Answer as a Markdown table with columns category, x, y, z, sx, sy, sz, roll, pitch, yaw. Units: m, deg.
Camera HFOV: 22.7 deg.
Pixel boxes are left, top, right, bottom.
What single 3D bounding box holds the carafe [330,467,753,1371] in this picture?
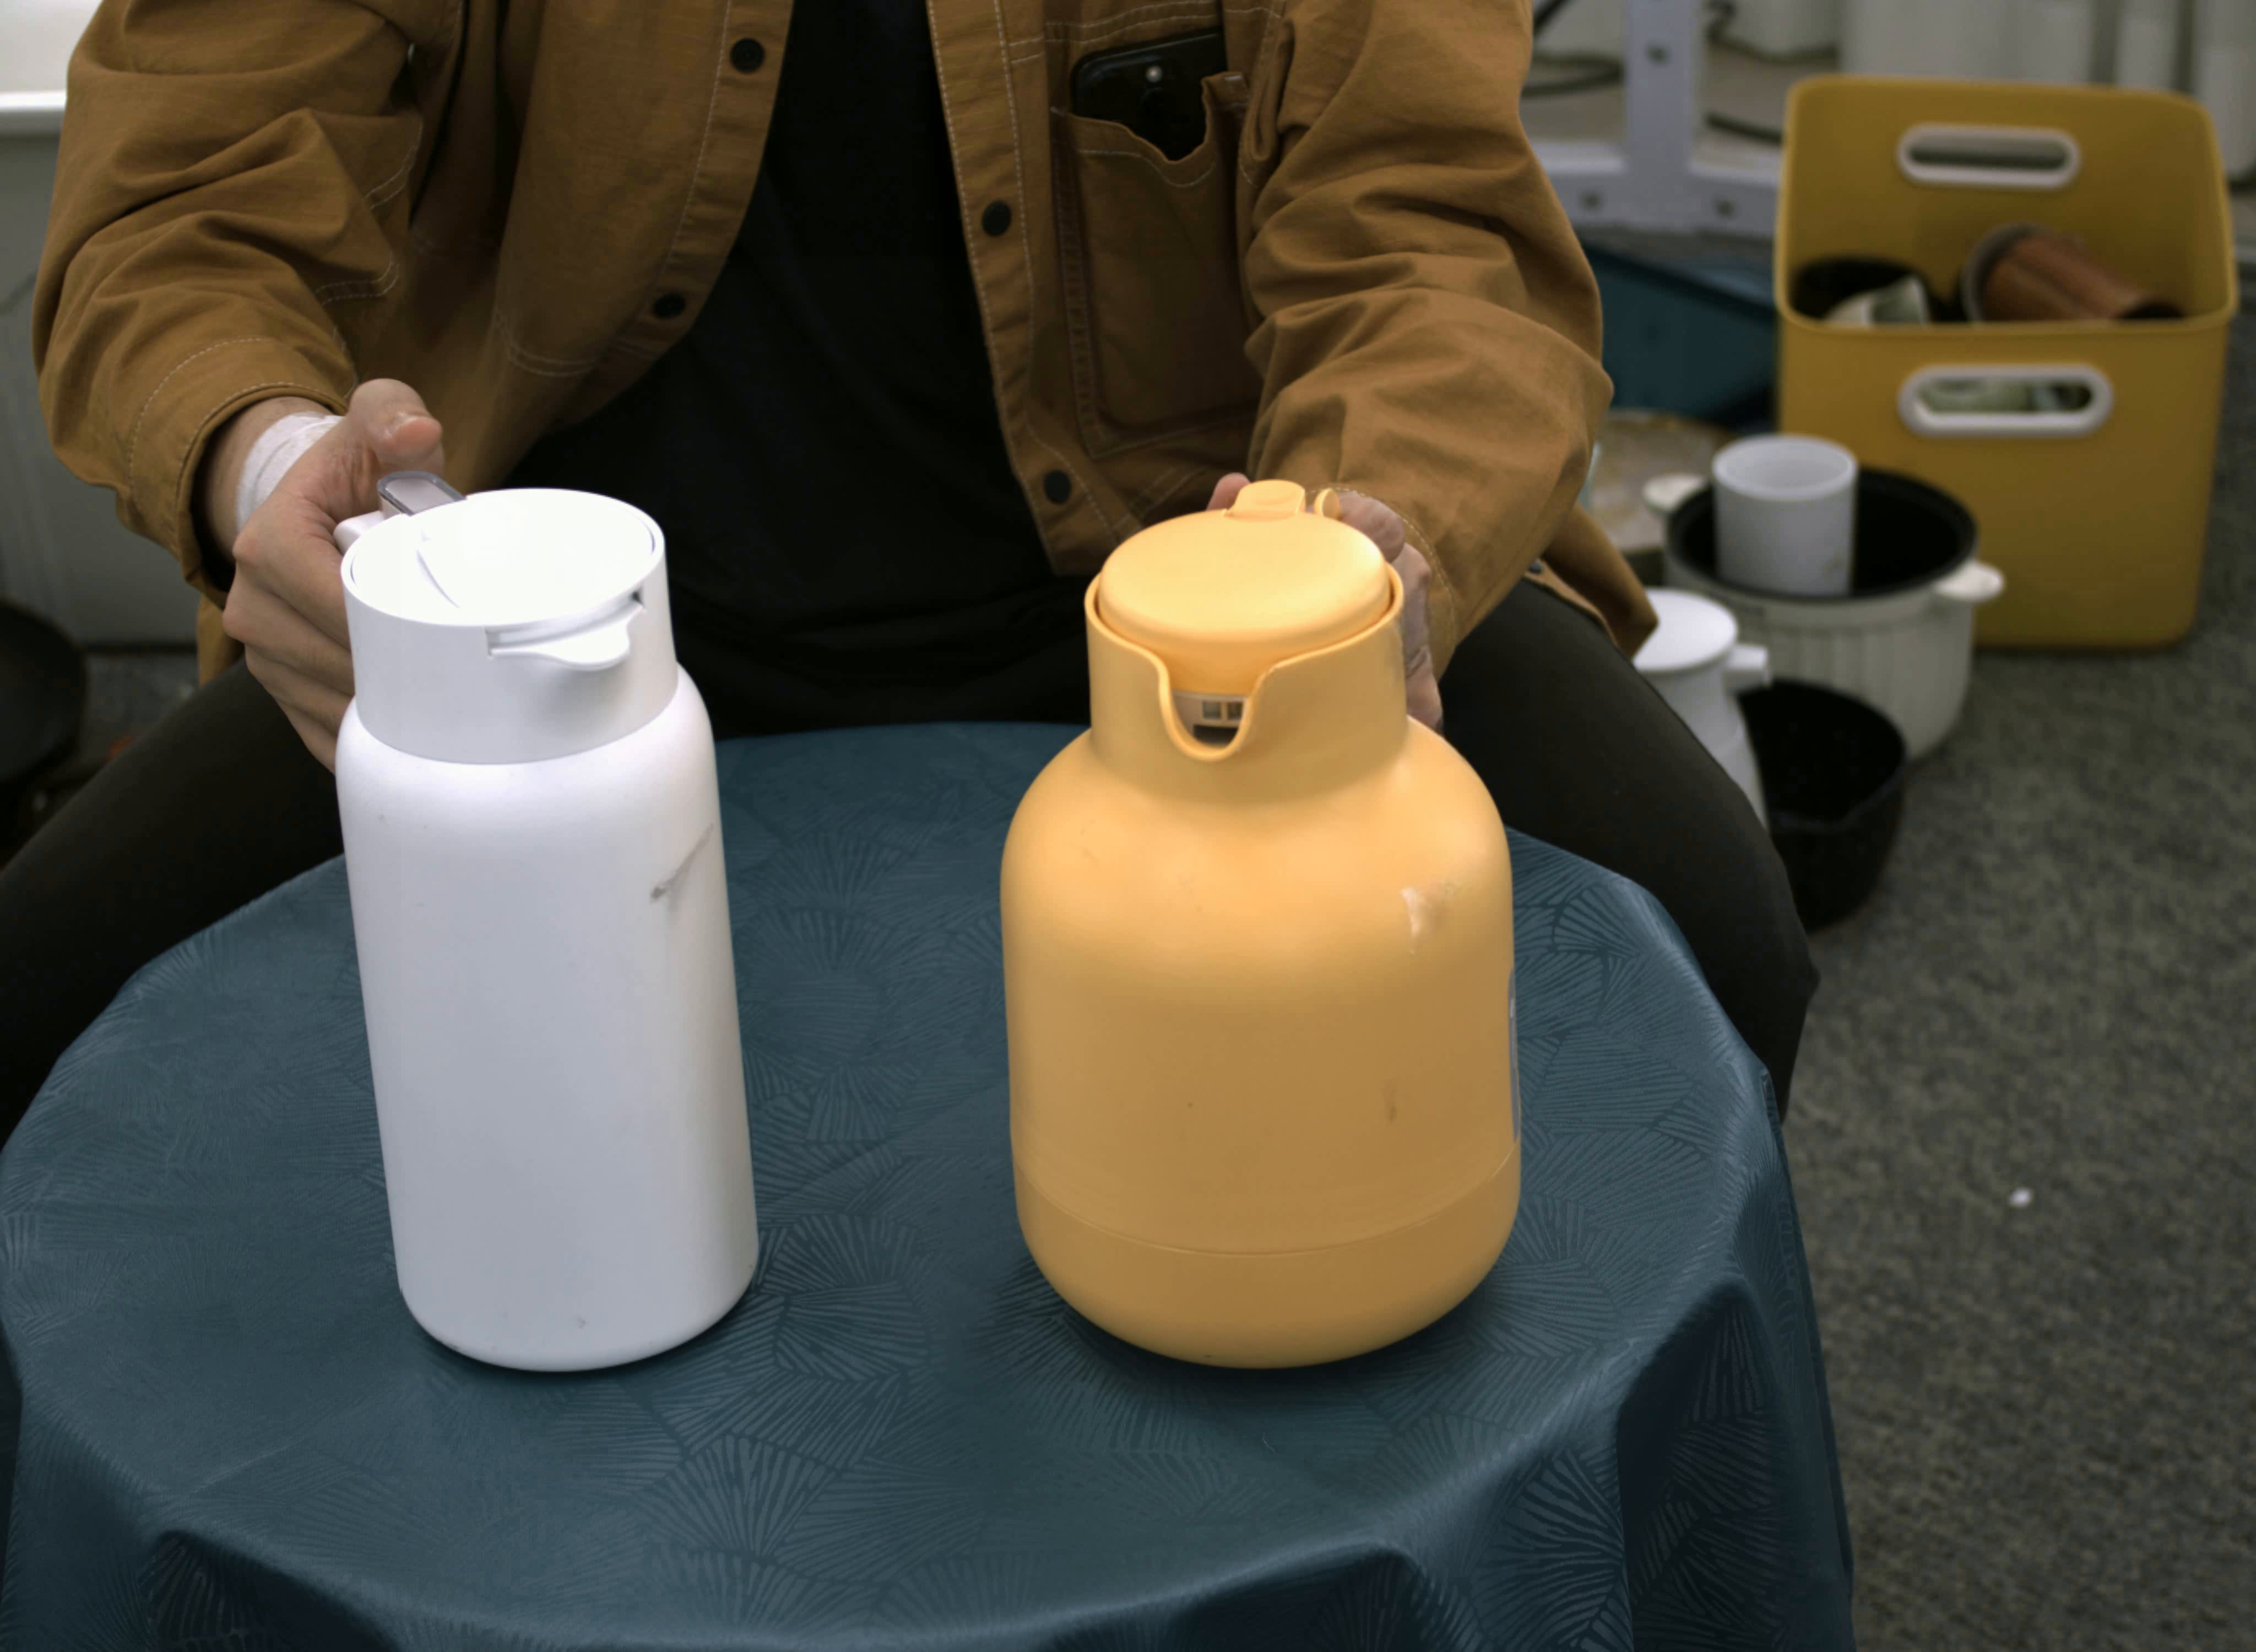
| category | x | y | z | sx | sy | sz | roll | pitch | yaw |
| --- | --- | --- | --- | --- | --- | --- | --- | --- | --- |
| carafe | -0.195 | 0.026 | 1.776 | 0.125 | 0.266 | 0.173 | -20 | 31 | -27 |

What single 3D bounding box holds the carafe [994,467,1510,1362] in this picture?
| category | x | y | z | sx | sy | sz | roll | pitch | yaw |
| --- | --- | --- | --- | --- | --- | --- | --- | --- | --- |
| carafe | 0.044 | 0.018 | 1.771 | 0.162 | 0.257 | 0.206 | 6 | 29 | 11 |
